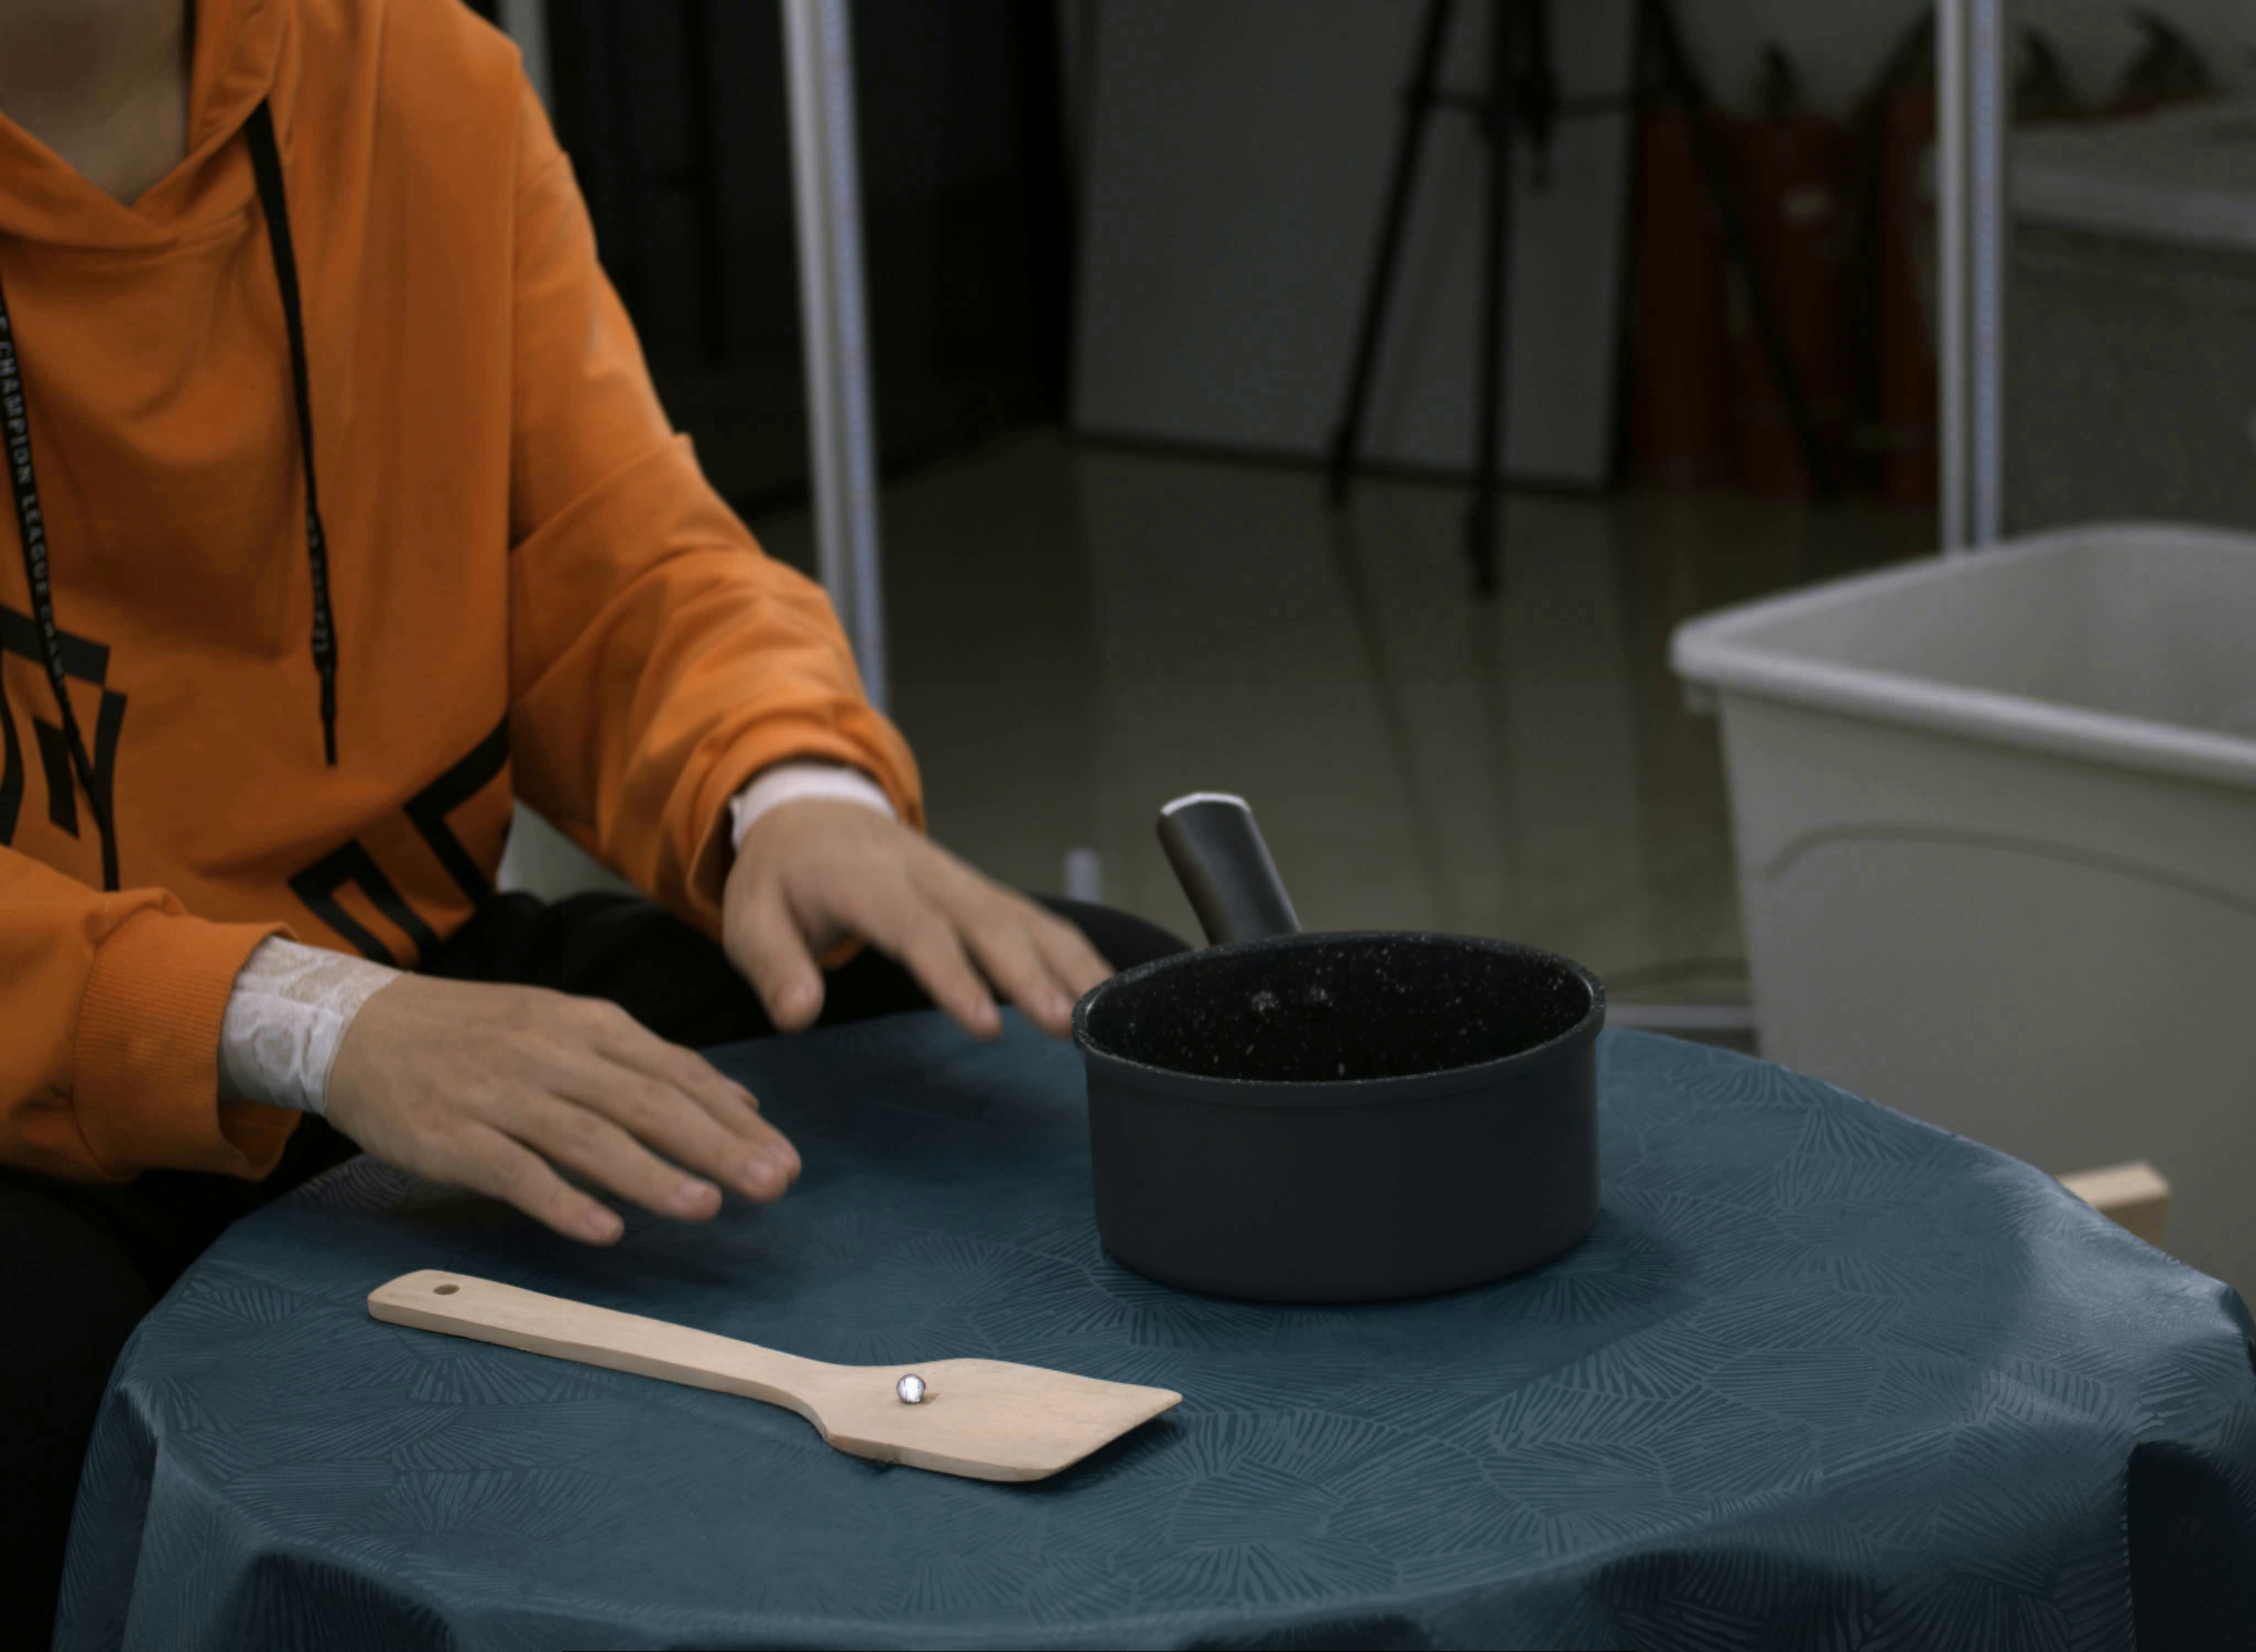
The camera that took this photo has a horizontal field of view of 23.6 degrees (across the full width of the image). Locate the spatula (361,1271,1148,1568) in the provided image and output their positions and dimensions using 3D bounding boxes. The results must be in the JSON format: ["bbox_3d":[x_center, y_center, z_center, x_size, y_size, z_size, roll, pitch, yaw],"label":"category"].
[{"bbox_3d":[-0.125,0.174,1.627,0.295,0.011,0.071,12,30,38],"label":"spatula"}]

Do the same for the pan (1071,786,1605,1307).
[{"bbox_3d":[0.058,0.069,1.786,0.169,0.087,0.330,-5,15,-5],"label":"pan"}]
